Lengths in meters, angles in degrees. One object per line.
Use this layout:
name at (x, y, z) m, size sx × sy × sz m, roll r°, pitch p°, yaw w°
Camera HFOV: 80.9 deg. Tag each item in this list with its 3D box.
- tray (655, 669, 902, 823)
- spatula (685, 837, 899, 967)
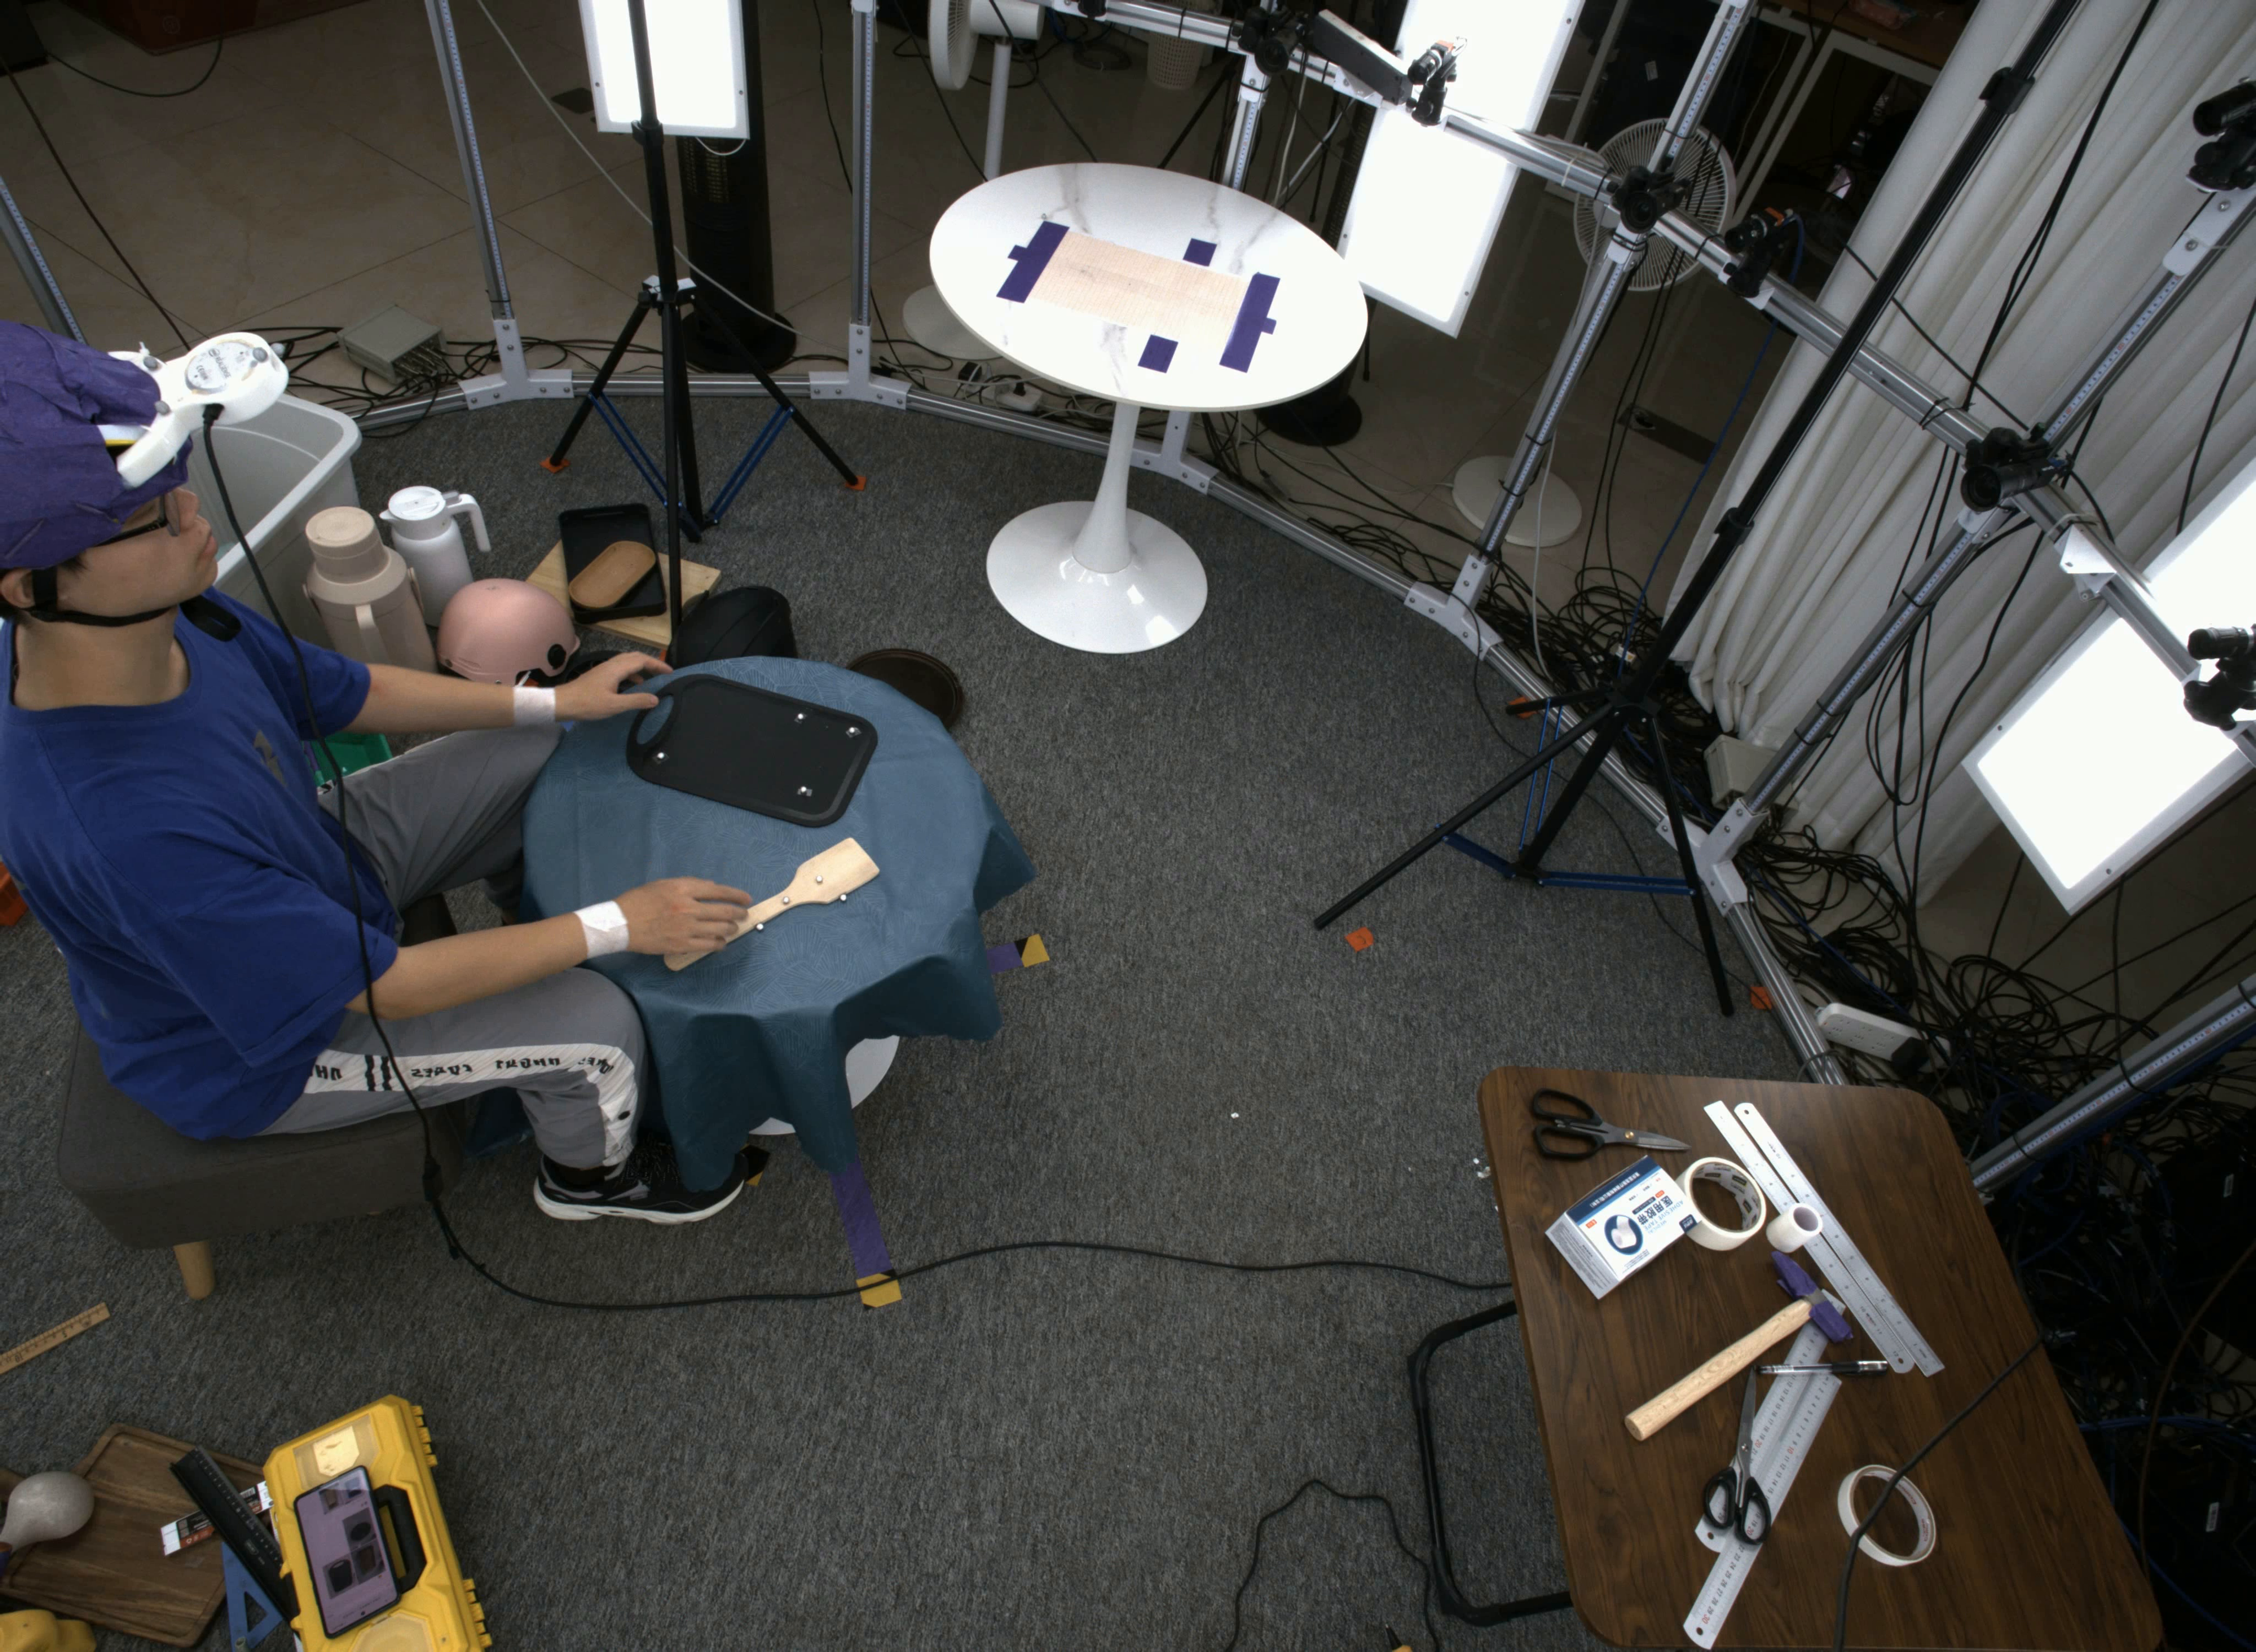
tray at (-0.492, -0.118, 1.800) m, size 0.322 × 0.010 × 0.209 m, roll 18°, pitch 52°, yaw -1°
spatula at (-0.429, 0.100, 1.652) m, size 0.294 × 0.011 × 0.070 m, roll -30°, pitch 67°, yaw -31°
